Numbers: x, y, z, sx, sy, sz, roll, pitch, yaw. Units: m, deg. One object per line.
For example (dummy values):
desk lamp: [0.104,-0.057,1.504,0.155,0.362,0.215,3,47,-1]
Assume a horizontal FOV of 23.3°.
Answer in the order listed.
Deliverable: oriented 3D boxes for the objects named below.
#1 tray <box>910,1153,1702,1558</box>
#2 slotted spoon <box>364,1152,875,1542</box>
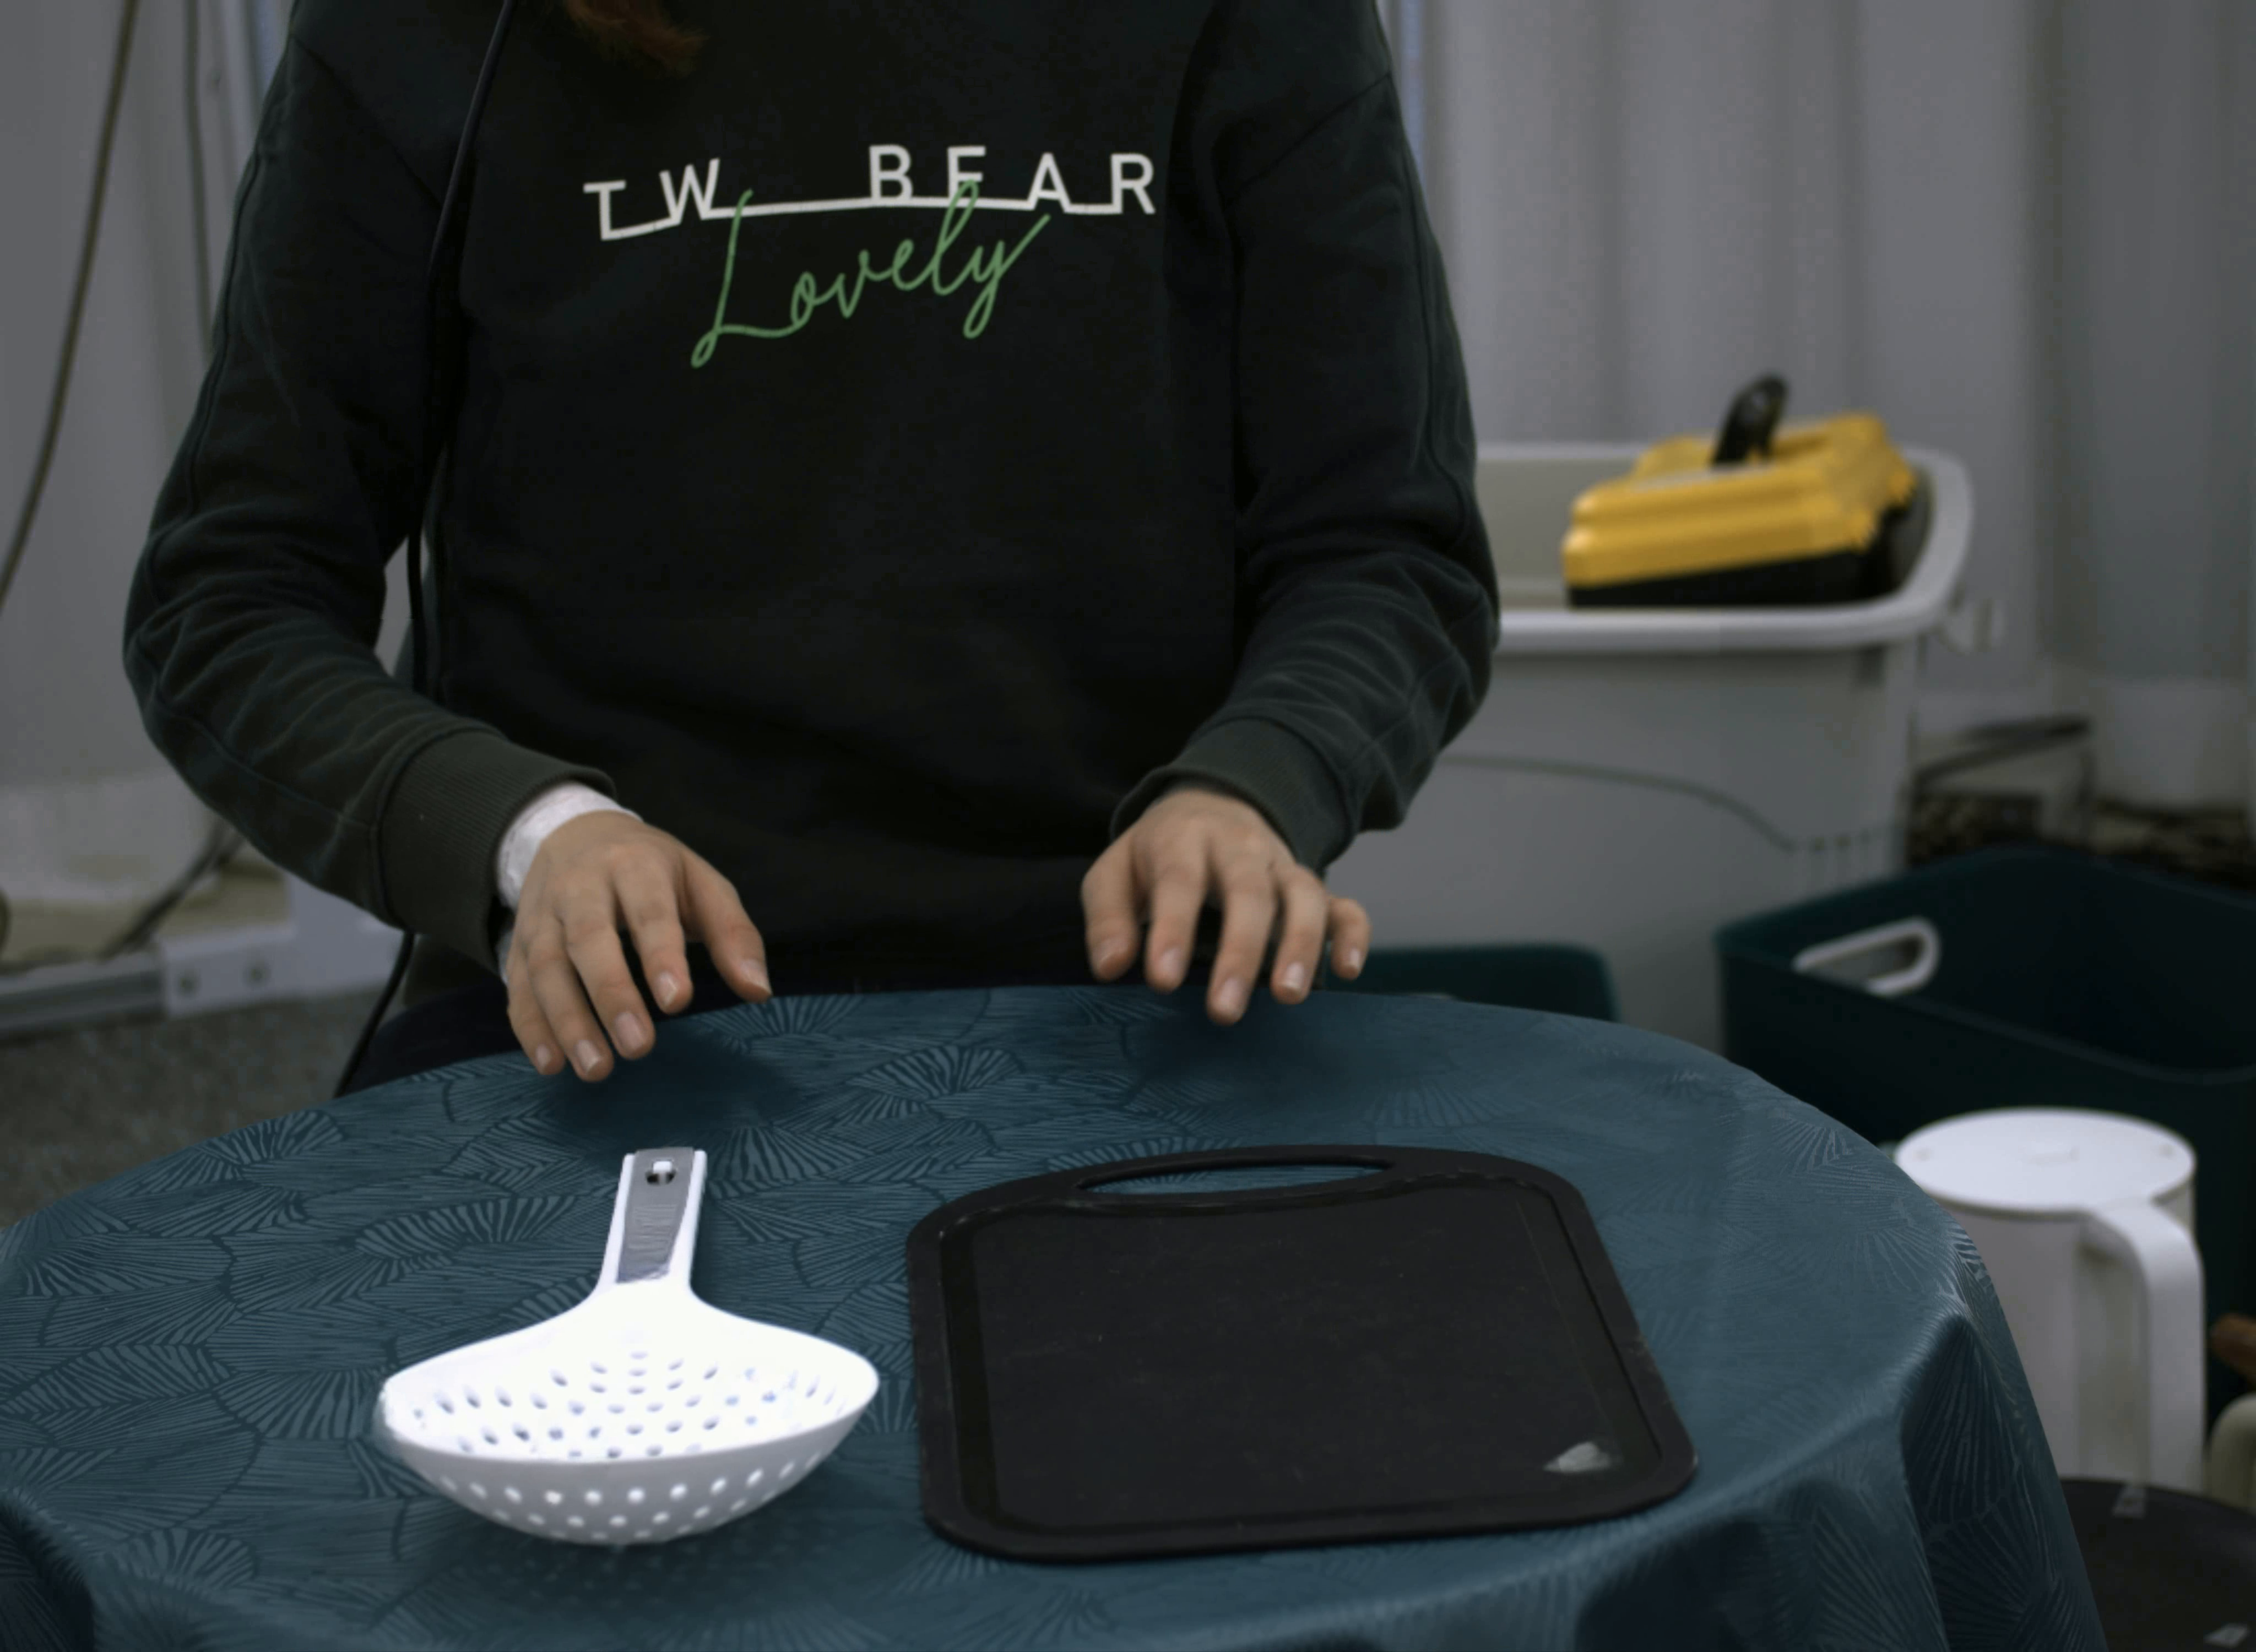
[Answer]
tray: [0.043,0.145,1.579,0.210,0.010,0.327,-3,15,-2]
slotted spoon: [-0.139,0.139,1.561,0.135,0.045,0.352,-1,14,-2]
